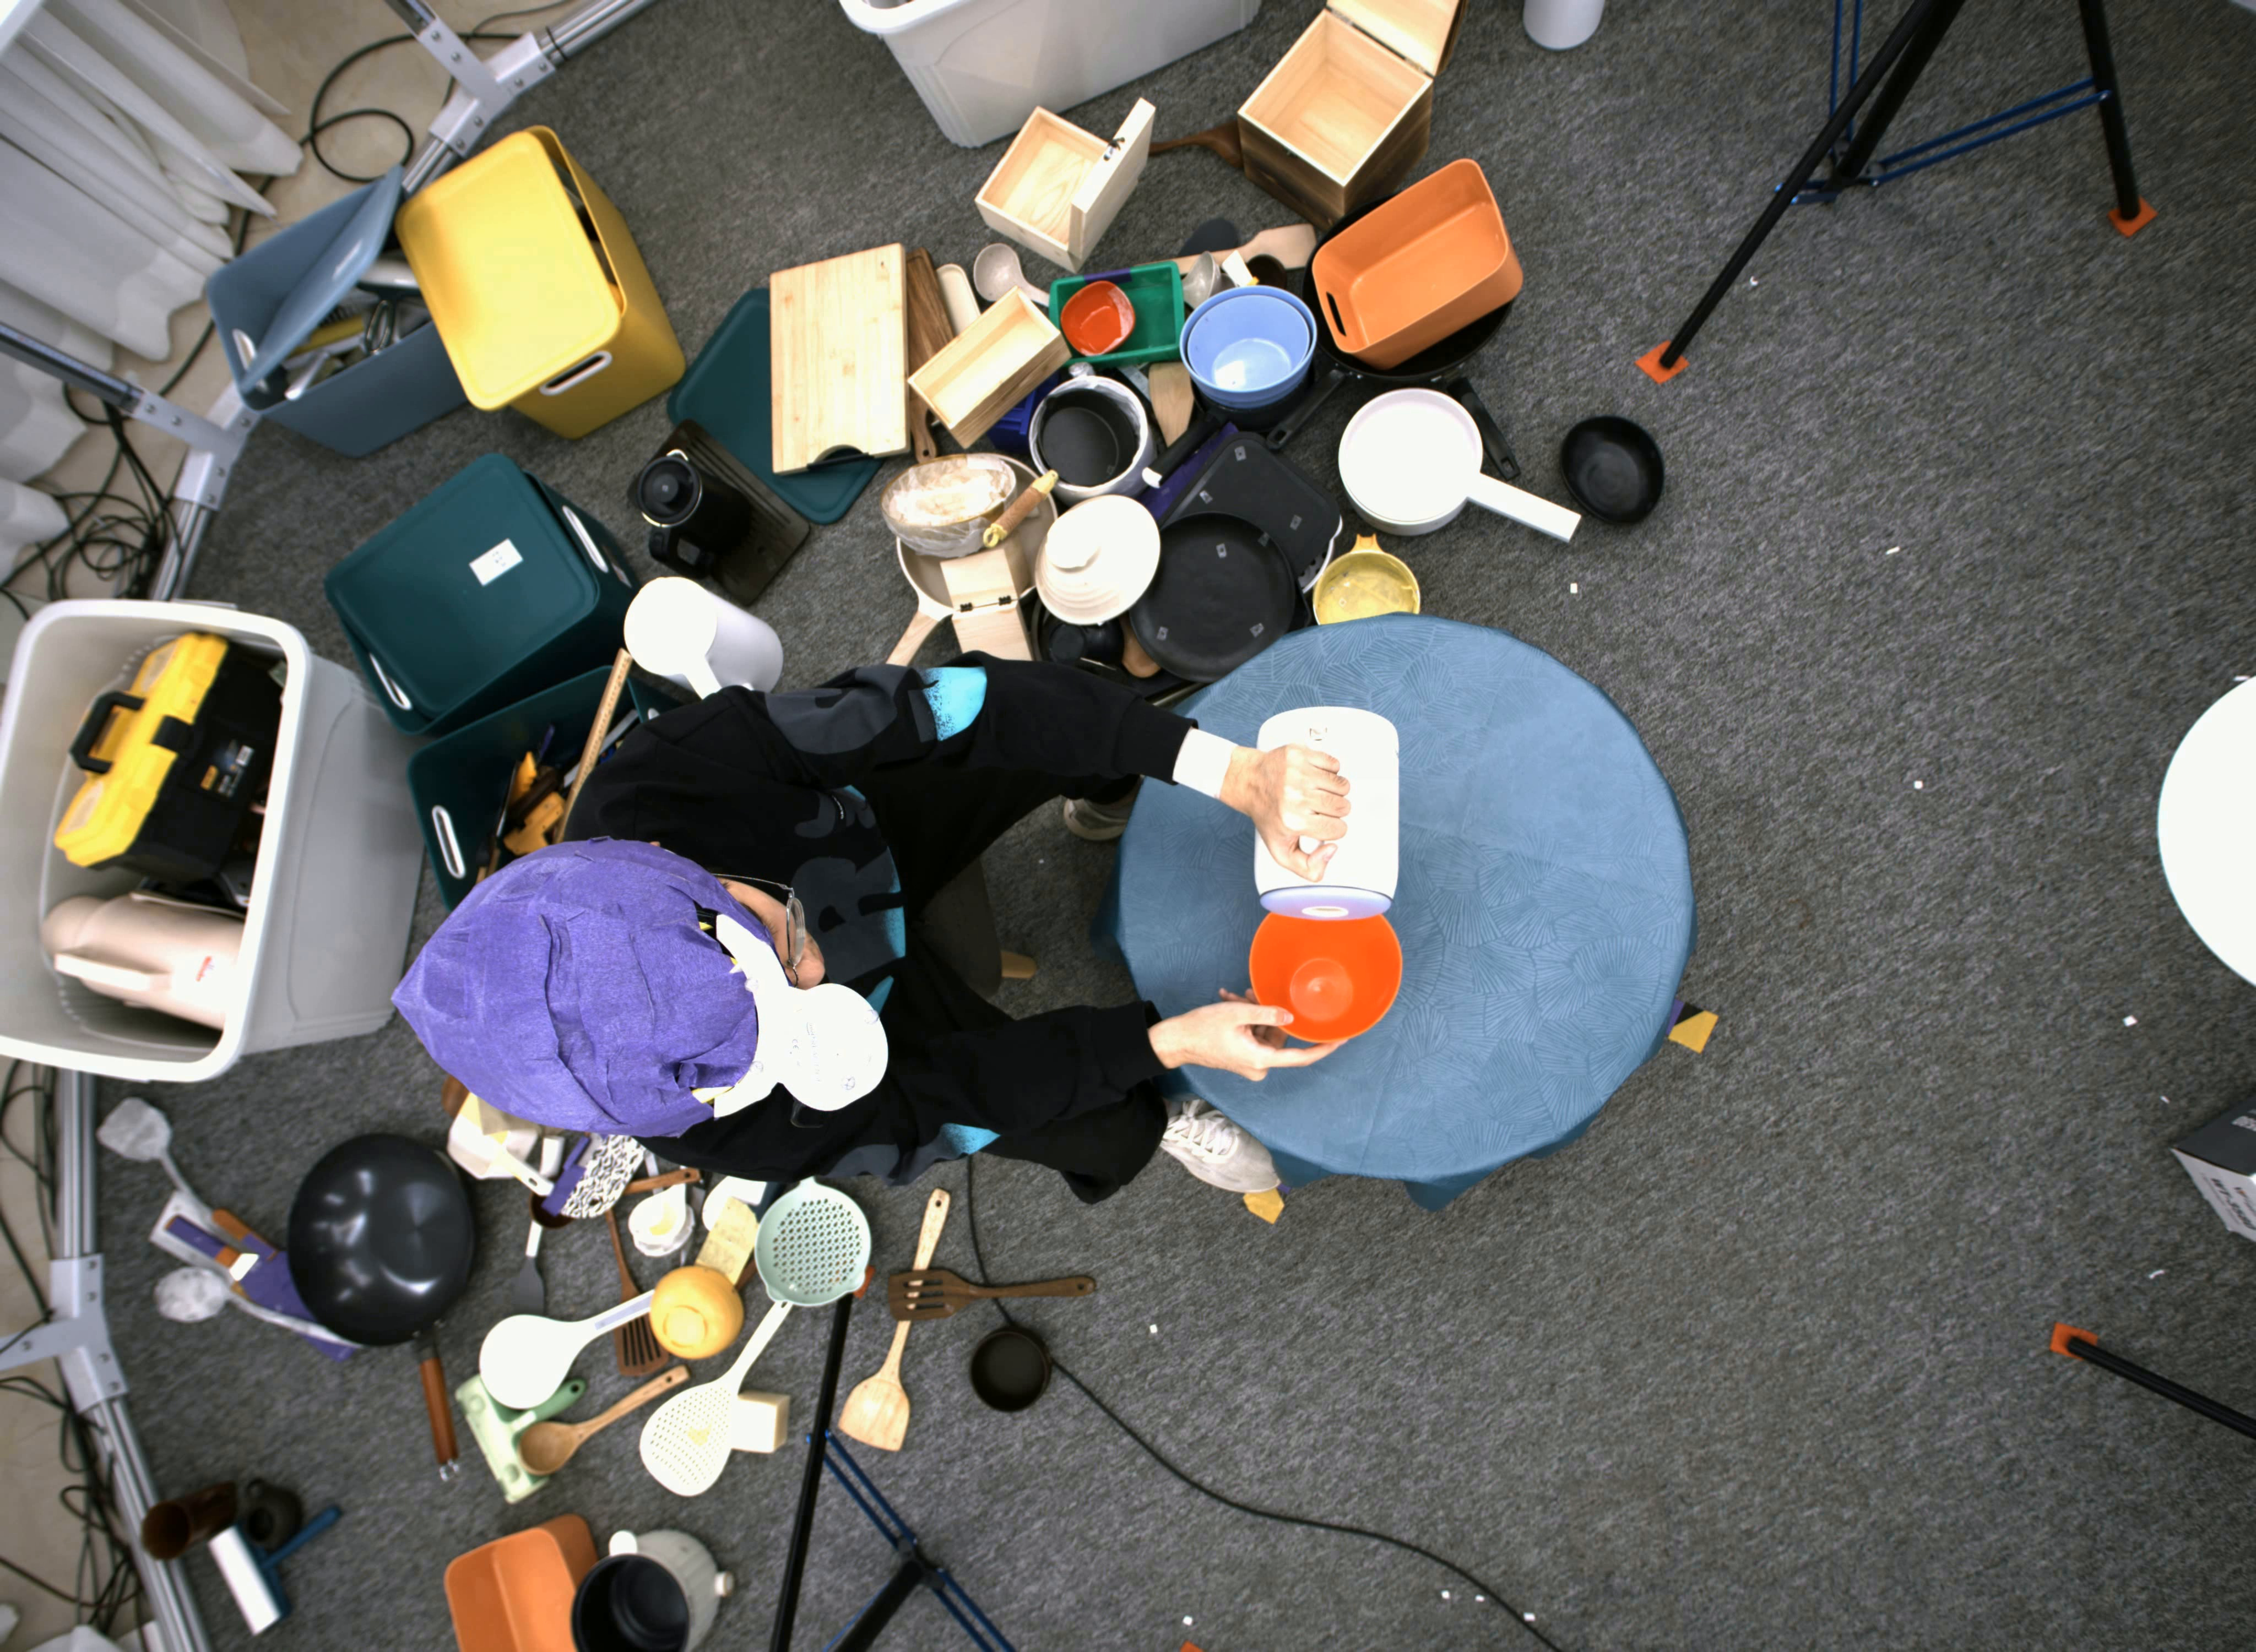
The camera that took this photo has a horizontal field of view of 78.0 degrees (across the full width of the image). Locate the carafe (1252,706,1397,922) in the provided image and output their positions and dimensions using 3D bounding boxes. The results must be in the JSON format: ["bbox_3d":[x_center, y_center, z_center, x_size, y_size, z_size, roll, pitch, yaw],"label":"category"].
[{"bbox_3d":[0.173,-0.017,1.243,0.133,0.193,0.180,-2,74,17],"label":"carafe"}]

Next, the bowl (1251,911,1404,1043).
[{"bbox_3d":[0.196,0.146,1.380,0.148,0.106,0.146,-2,76,6],"label":"bowl"}]
